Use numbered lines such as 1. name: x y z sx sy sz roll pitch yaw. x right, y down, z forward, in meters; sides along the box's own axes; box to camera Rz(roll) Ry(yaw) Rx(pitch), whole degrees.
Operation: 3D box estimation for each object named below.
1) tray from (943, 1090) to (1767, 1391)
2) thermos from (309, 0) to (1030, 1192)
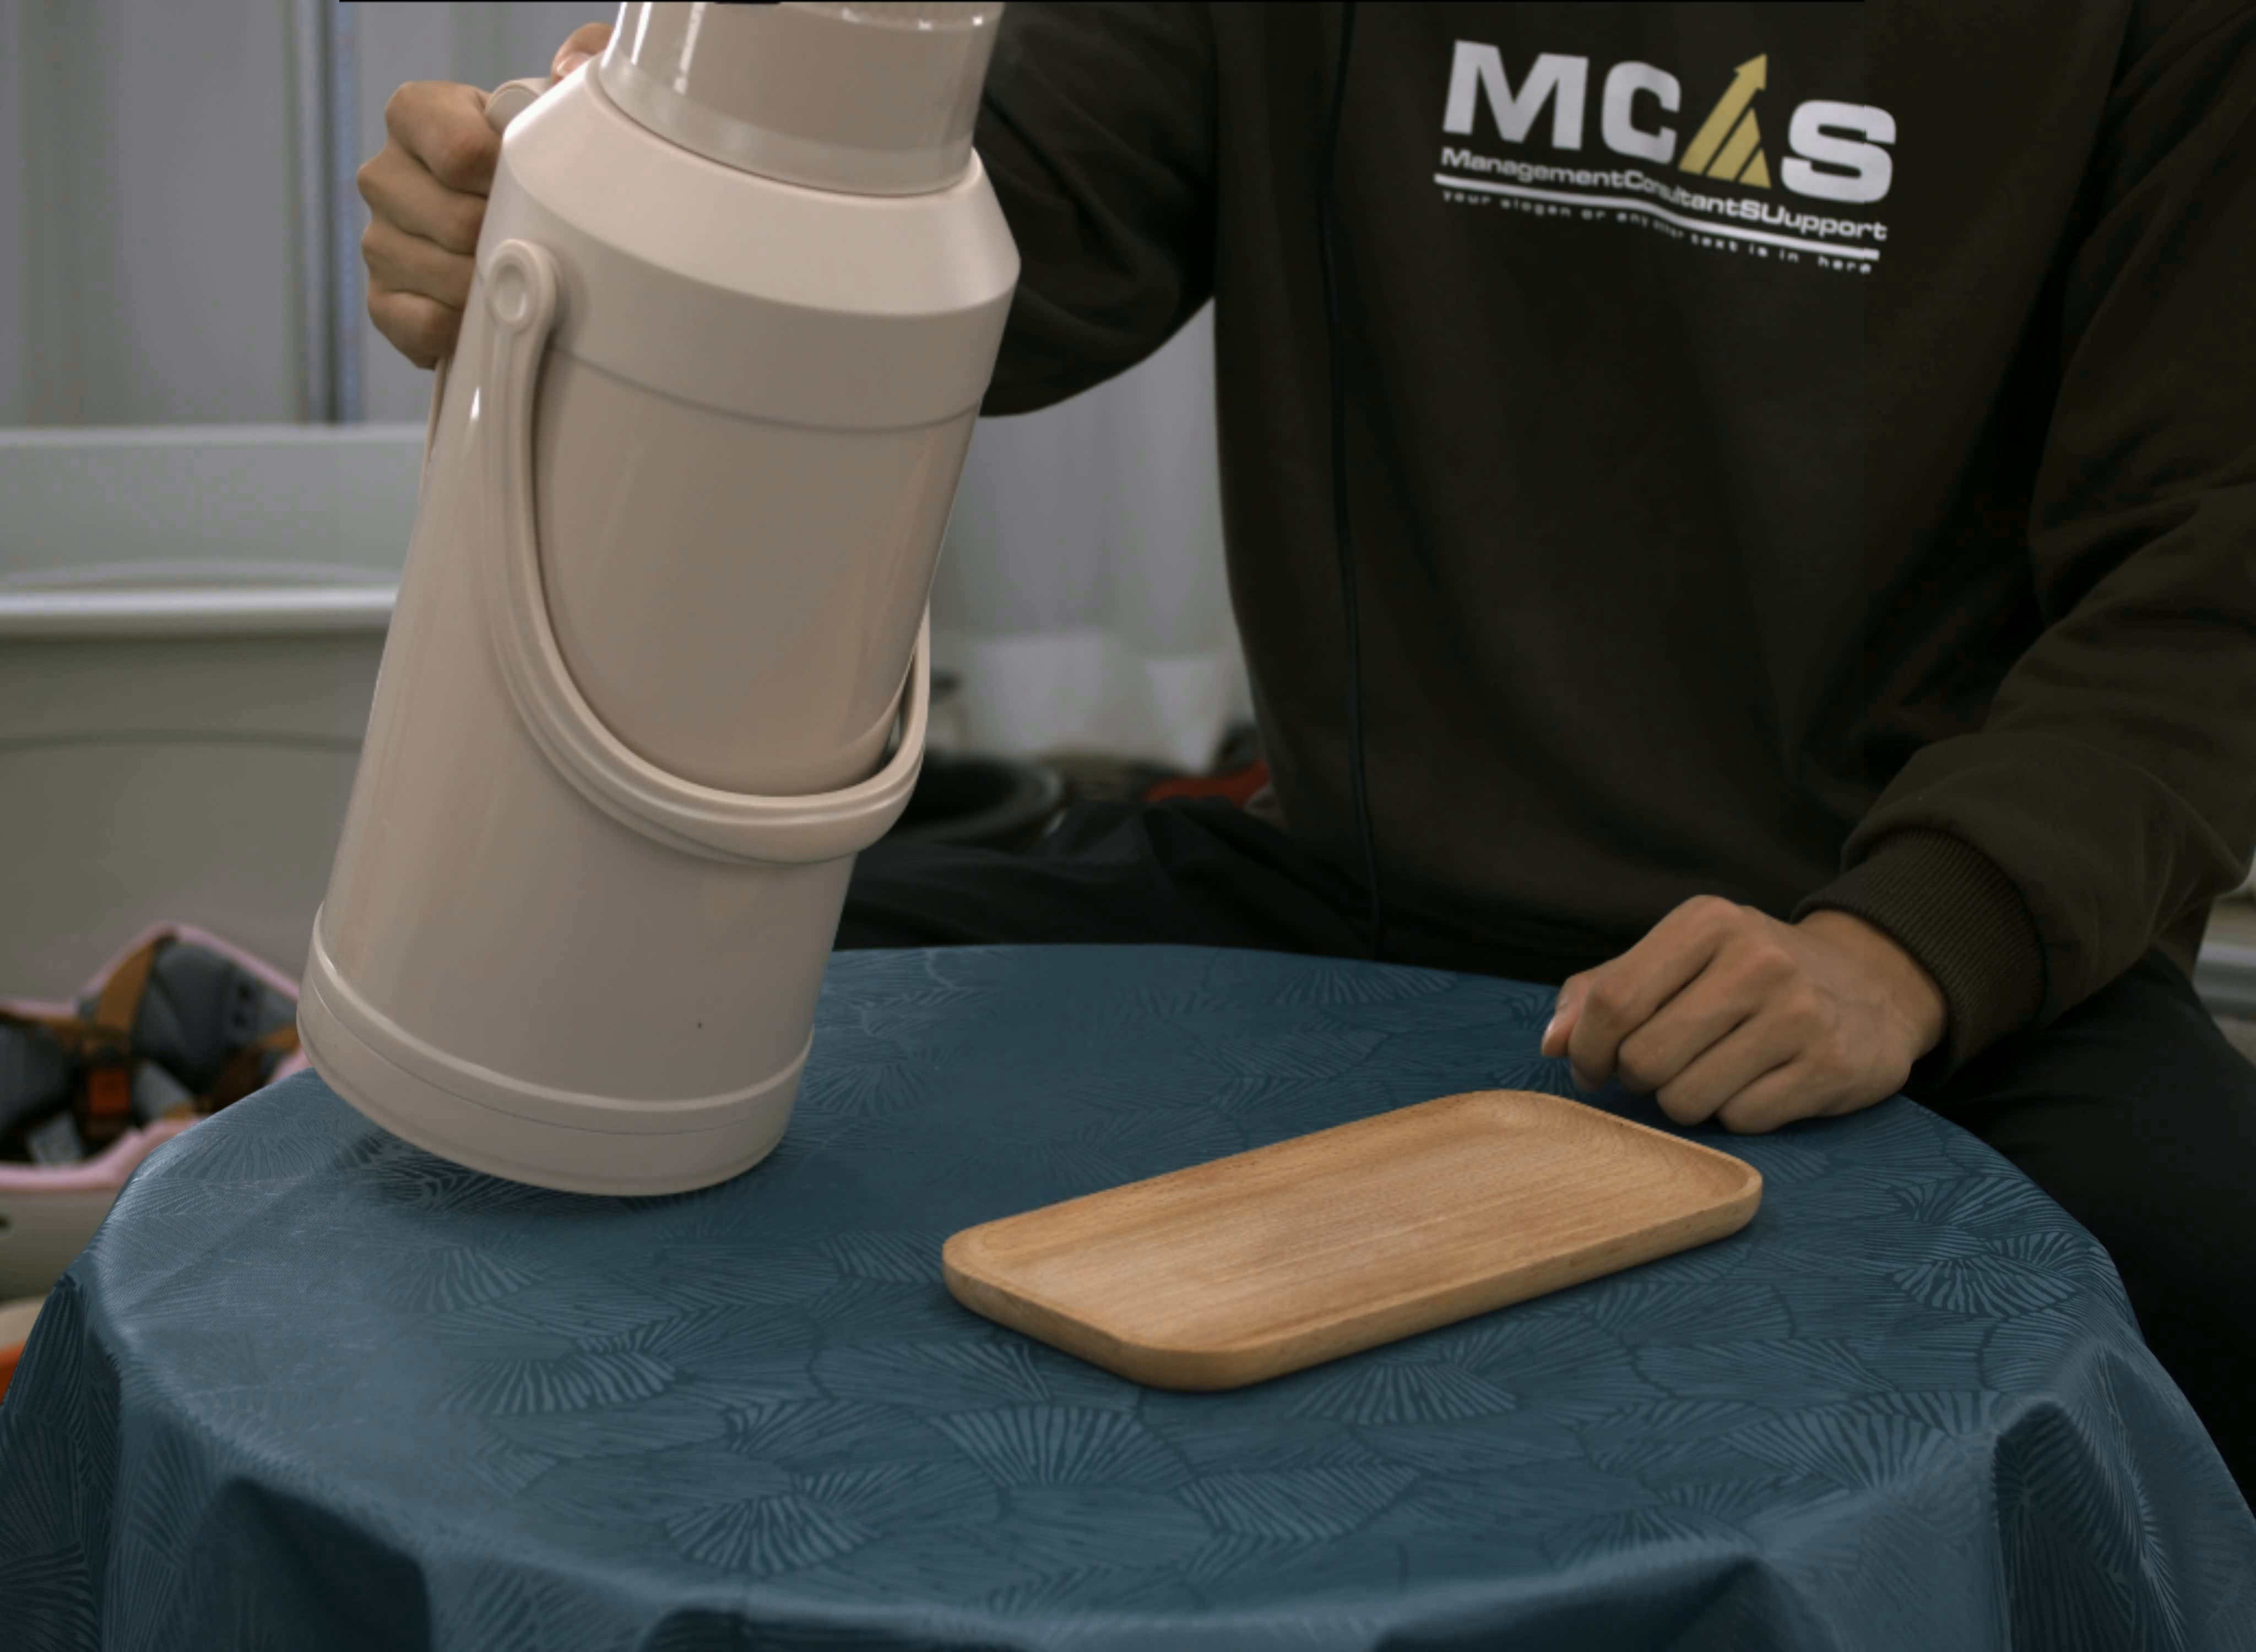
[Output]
1. tray: 0.070 0.121 1.572 0.252 0.023 0.129 -11 22 -39
2. thermos: -0.138 -0.106 1.586 0.176 0.409 0.204 -12 38 -44
